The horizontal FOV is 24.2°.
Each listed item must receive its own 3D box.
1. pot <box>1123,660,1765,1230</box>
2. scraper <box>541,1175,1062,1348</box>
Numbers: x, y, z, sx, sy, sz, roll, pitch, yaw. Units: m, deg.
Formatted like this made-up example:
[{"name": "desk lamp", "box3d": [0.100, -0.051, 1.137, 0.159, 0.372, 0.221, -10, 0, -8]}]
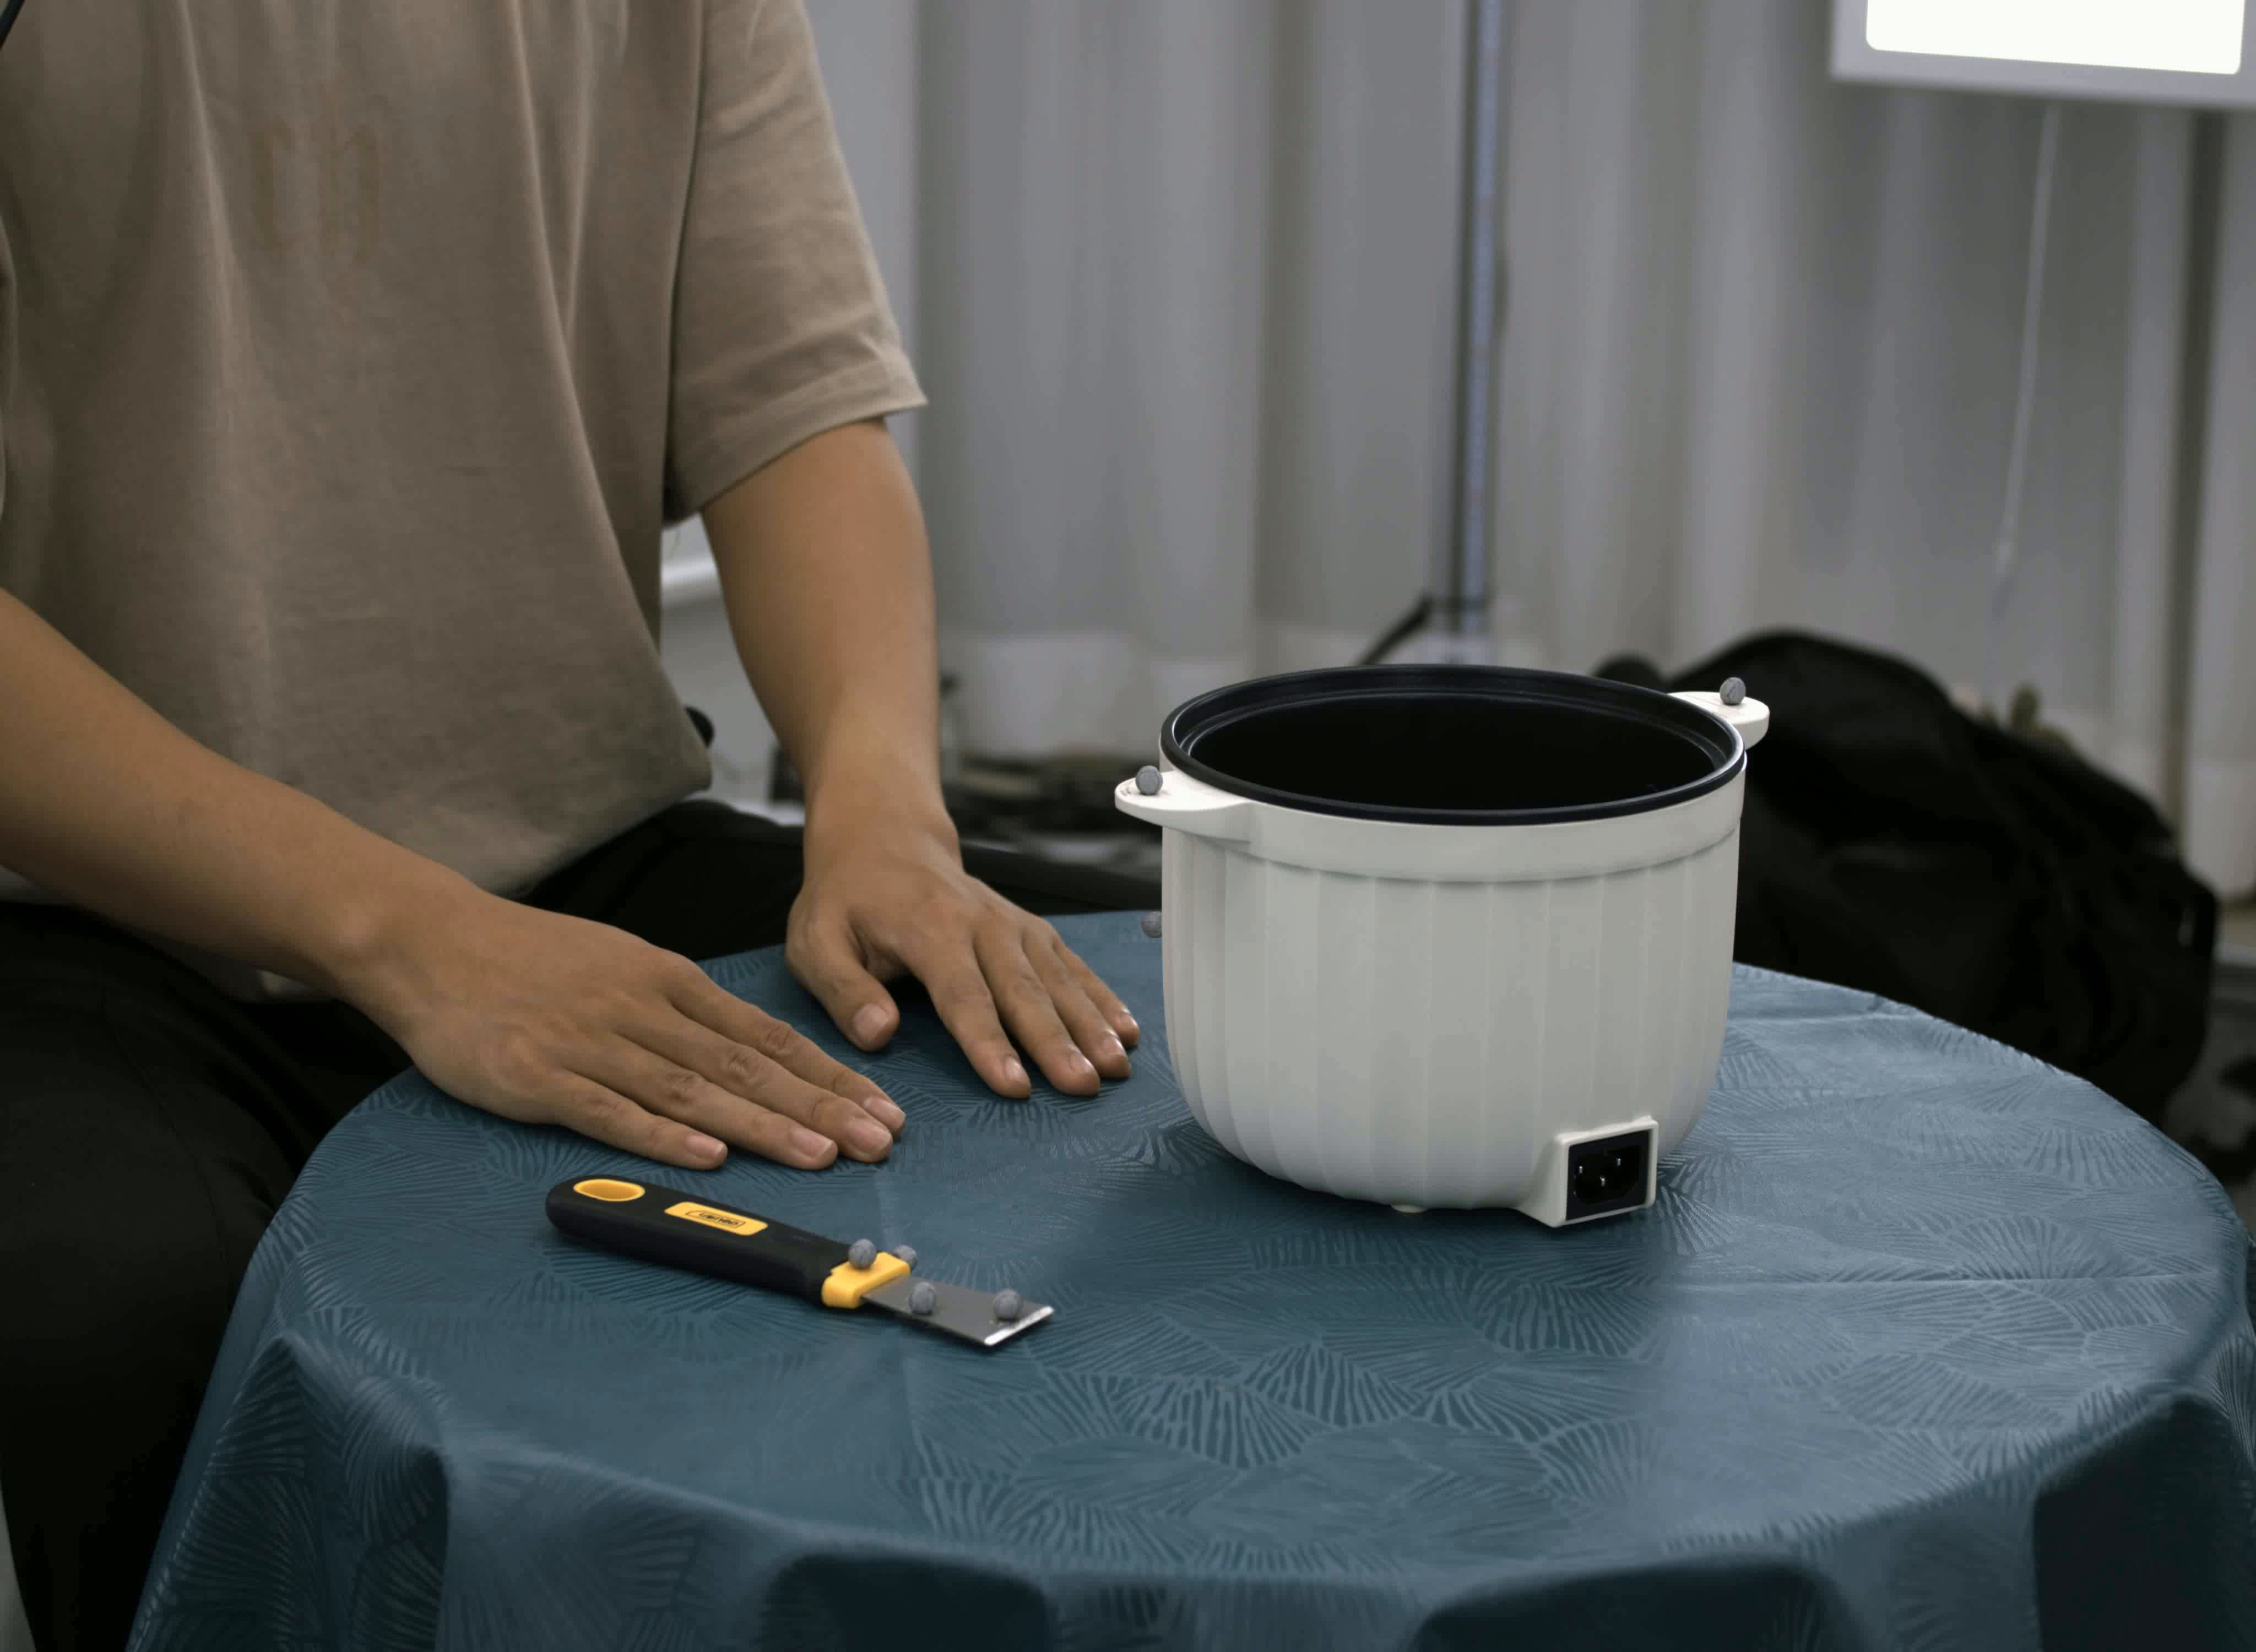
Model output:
[{"name": "pot", "box3d": [0.095, 0.035, 1.652, 0.241, 0.144, 0.188, -8, 22, -33]}, {"name": "scraper", "box3d": [-0.100, 0.127, 1.539, 0.169, 0.015, 0.039, 12, 25, 28]}]
